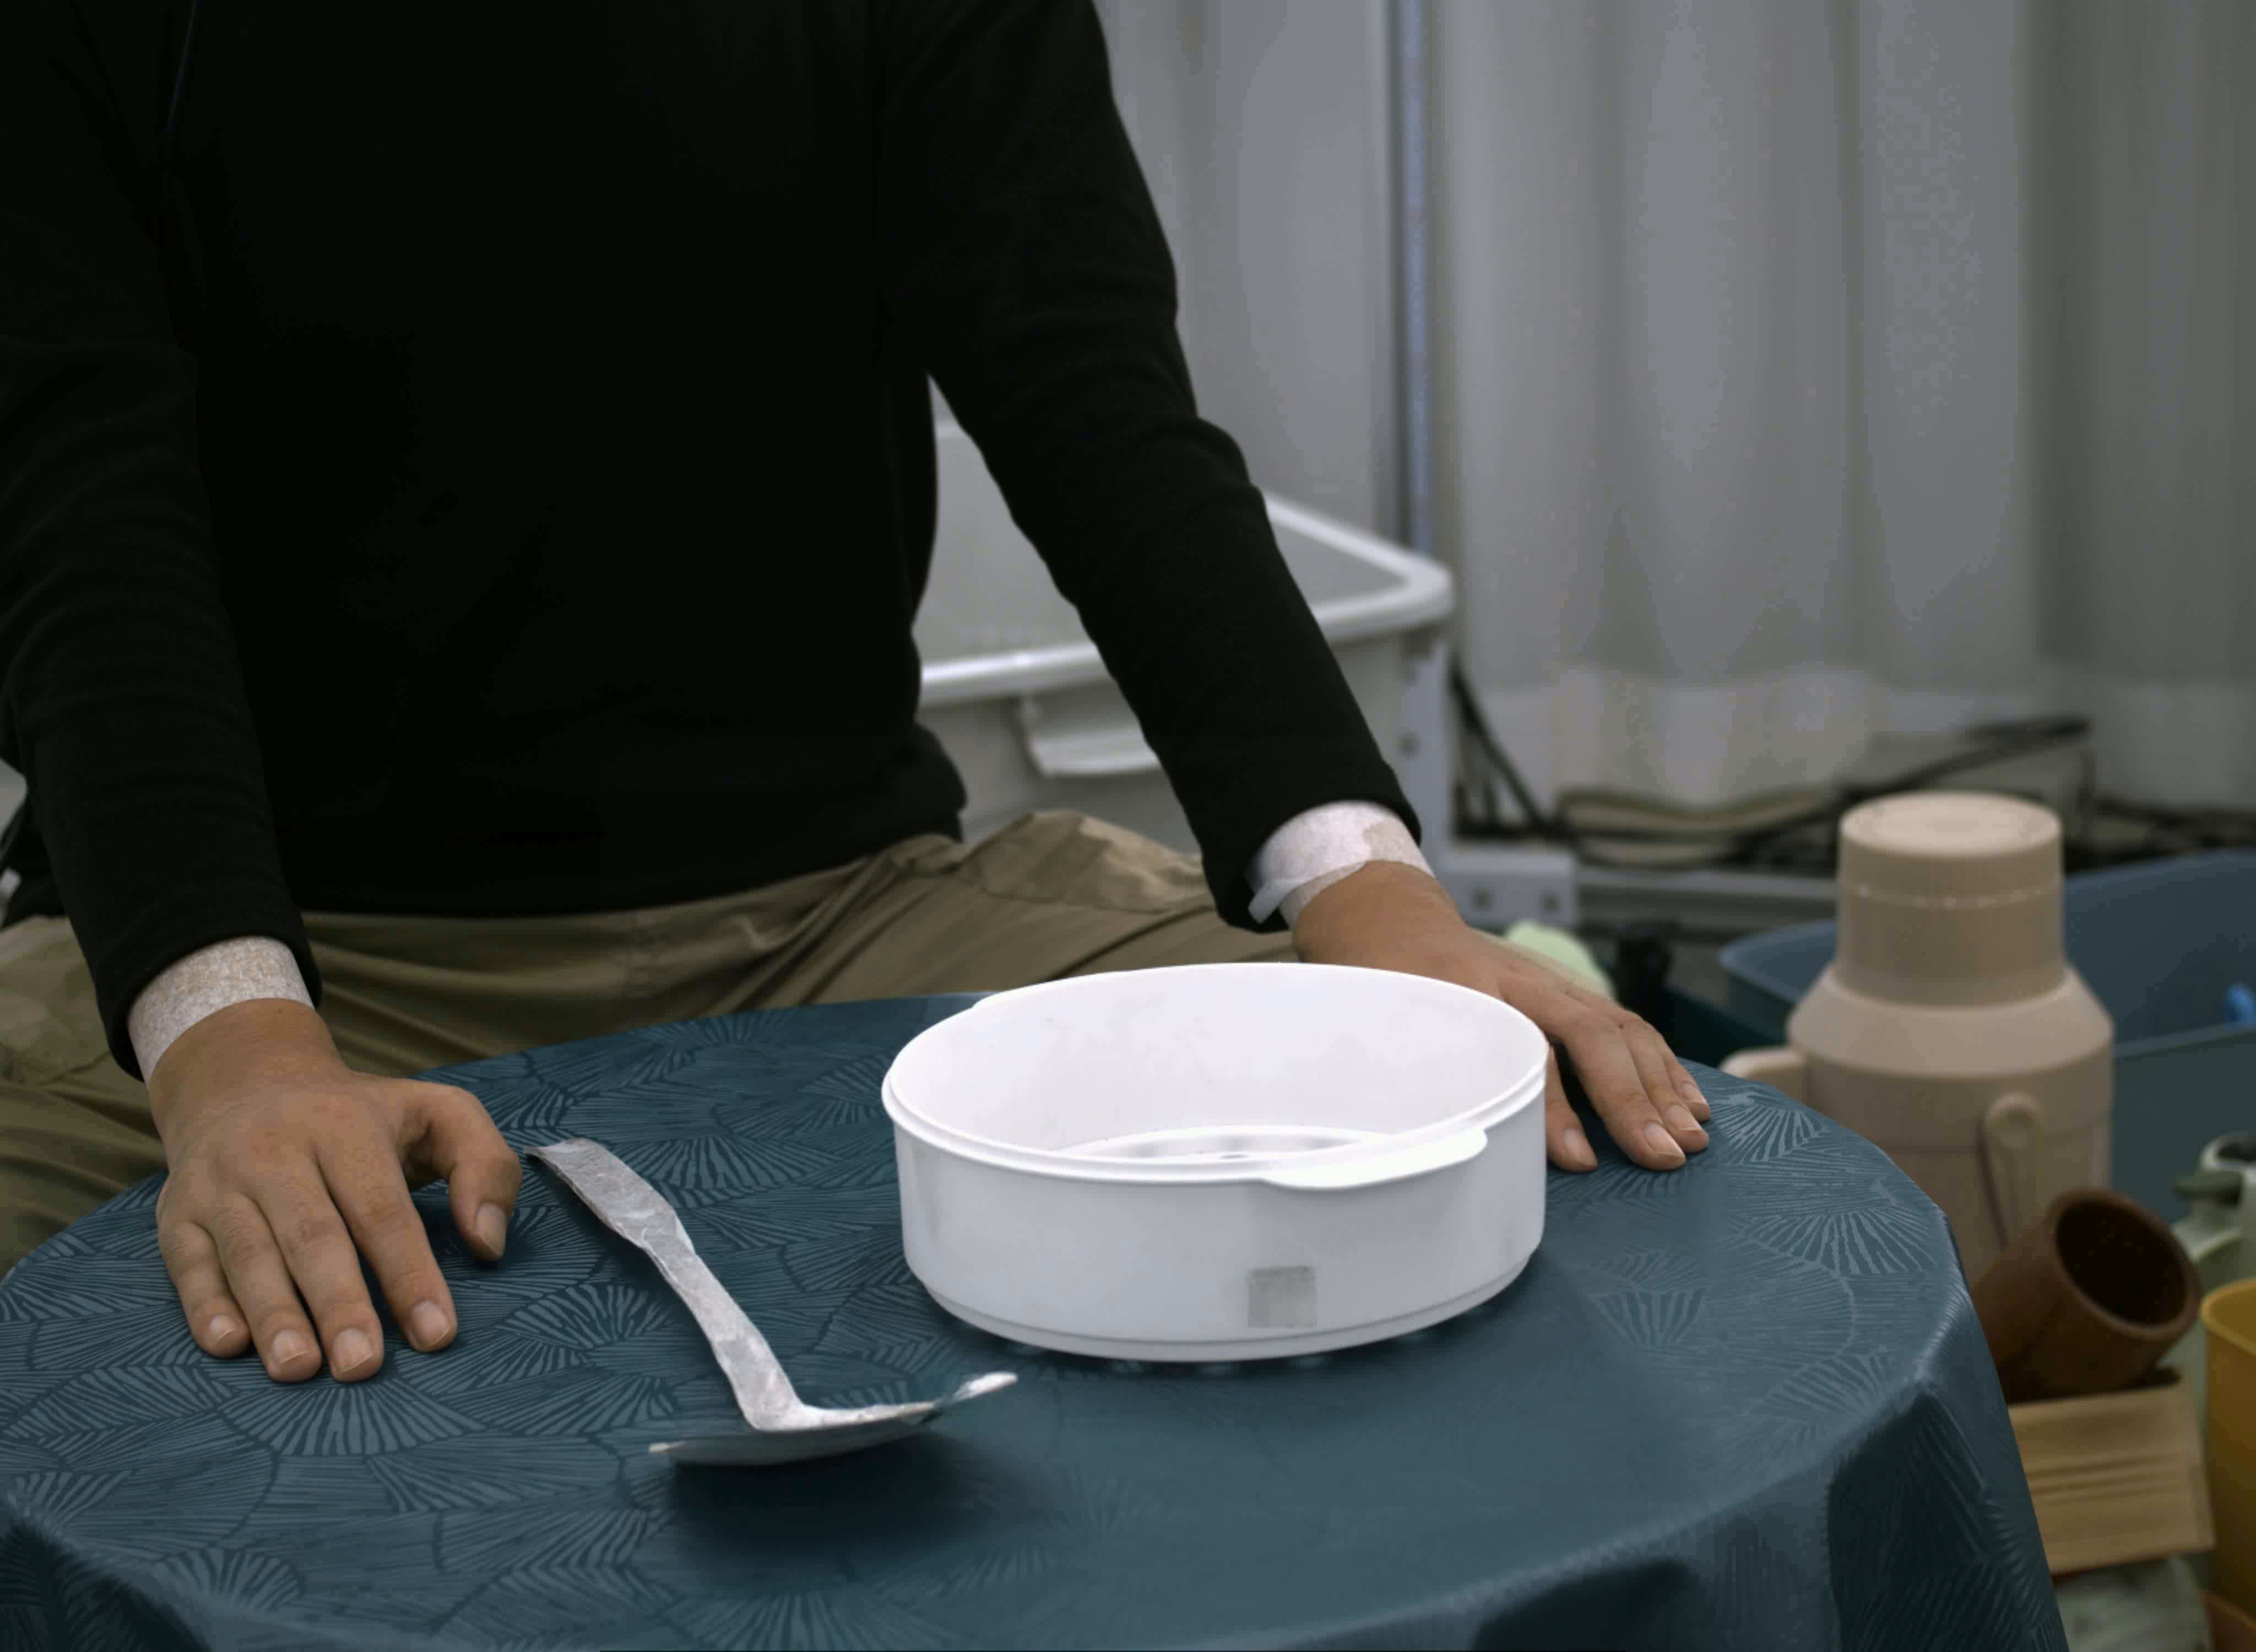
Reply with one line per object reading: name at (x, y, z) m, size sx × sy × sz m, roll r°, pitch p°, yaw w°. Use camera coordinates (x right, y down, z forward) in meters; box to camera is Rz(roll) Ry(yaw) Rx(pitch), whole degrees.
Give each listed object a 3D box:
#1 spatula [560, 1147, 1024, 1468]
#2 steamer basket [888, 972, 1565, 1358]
spatula at (-0.123, 0.131, 1.602) m, size 0.098 × 0.044 × 0.368 m, roll -9°, pitch 16°, yaw -17°
steamer basket at (0.030, 0.101, 1.627) m, size 0.201 × 0.069 × 0.232 m, roll -9°, pitch 15°, yaw -25°
